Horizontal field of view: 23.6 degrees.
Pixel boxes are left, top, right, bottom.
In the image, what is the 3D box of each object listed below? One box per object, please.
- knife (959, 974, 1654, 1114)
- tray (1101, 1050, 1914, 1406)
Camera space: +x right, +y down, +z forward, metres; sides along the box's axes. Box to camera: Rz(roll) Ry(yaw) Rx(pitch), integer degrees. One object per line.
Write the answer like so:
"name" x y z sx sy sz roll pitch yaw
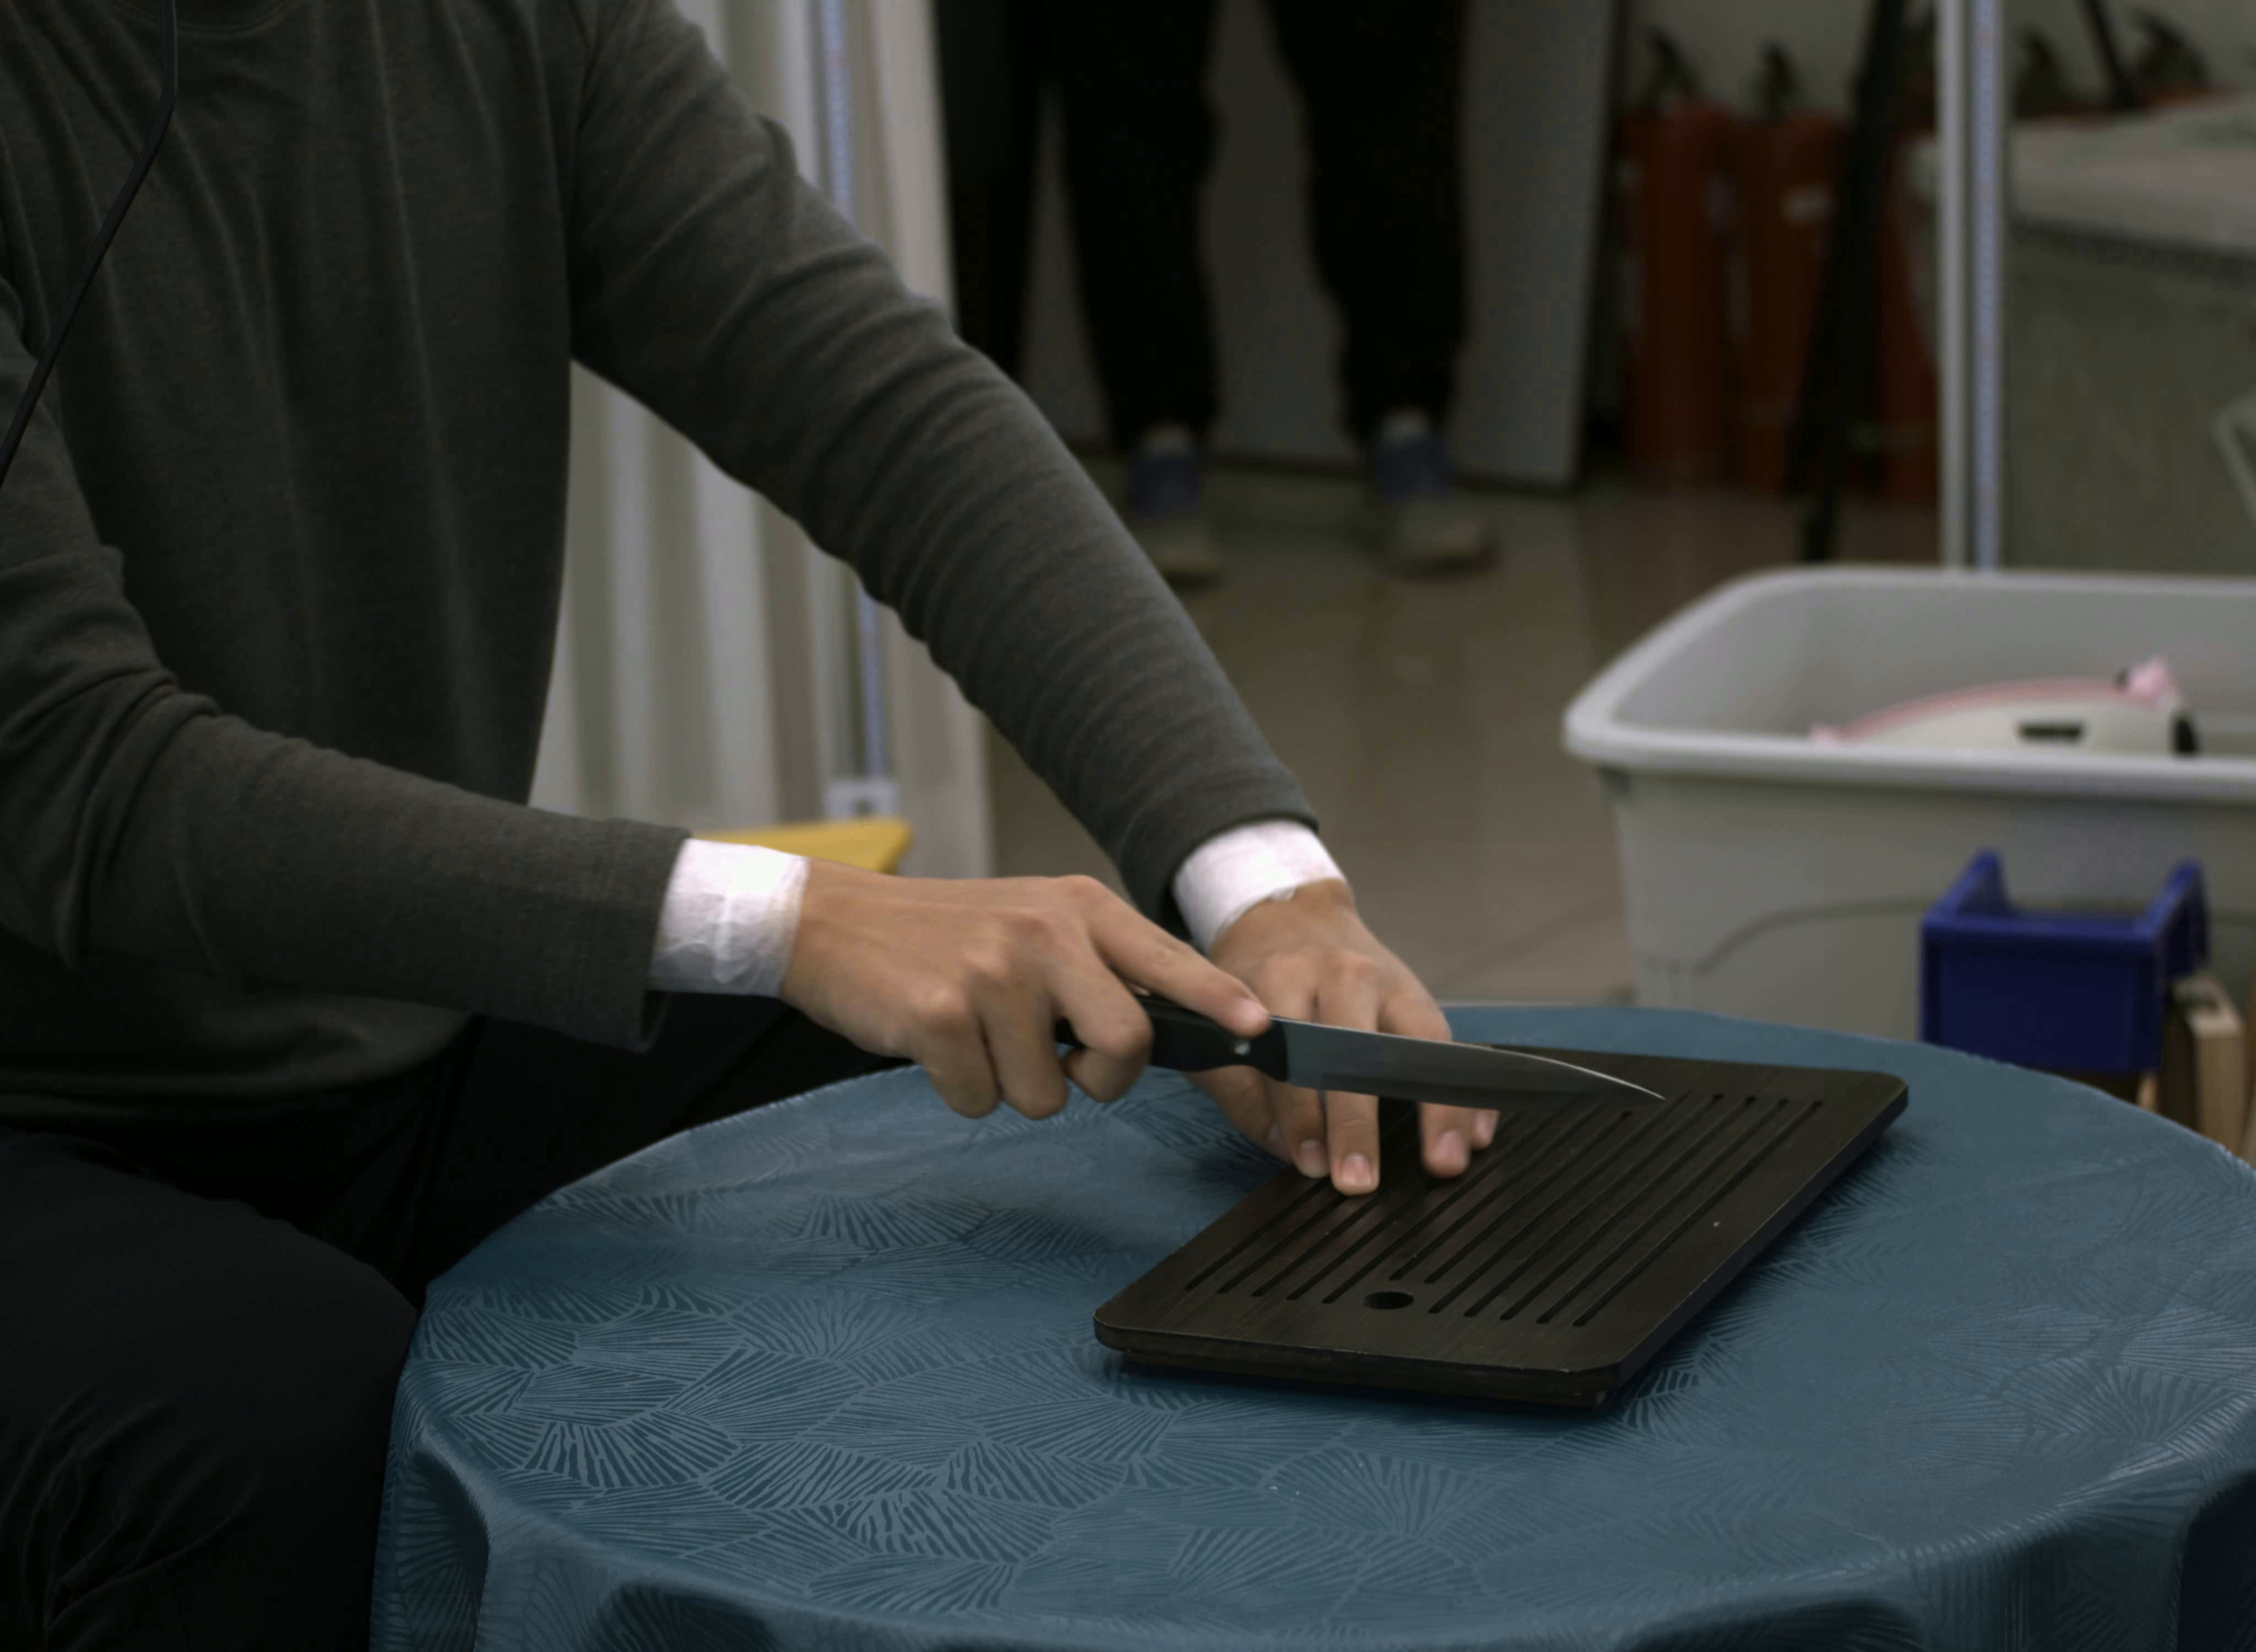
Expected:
"knife" 0.054 0.068 1.694 0.238 0.025 0.016 7 13 25
"tray" 0.127 0.123 1.692 0.170 0.019 0.302 2 15 26
